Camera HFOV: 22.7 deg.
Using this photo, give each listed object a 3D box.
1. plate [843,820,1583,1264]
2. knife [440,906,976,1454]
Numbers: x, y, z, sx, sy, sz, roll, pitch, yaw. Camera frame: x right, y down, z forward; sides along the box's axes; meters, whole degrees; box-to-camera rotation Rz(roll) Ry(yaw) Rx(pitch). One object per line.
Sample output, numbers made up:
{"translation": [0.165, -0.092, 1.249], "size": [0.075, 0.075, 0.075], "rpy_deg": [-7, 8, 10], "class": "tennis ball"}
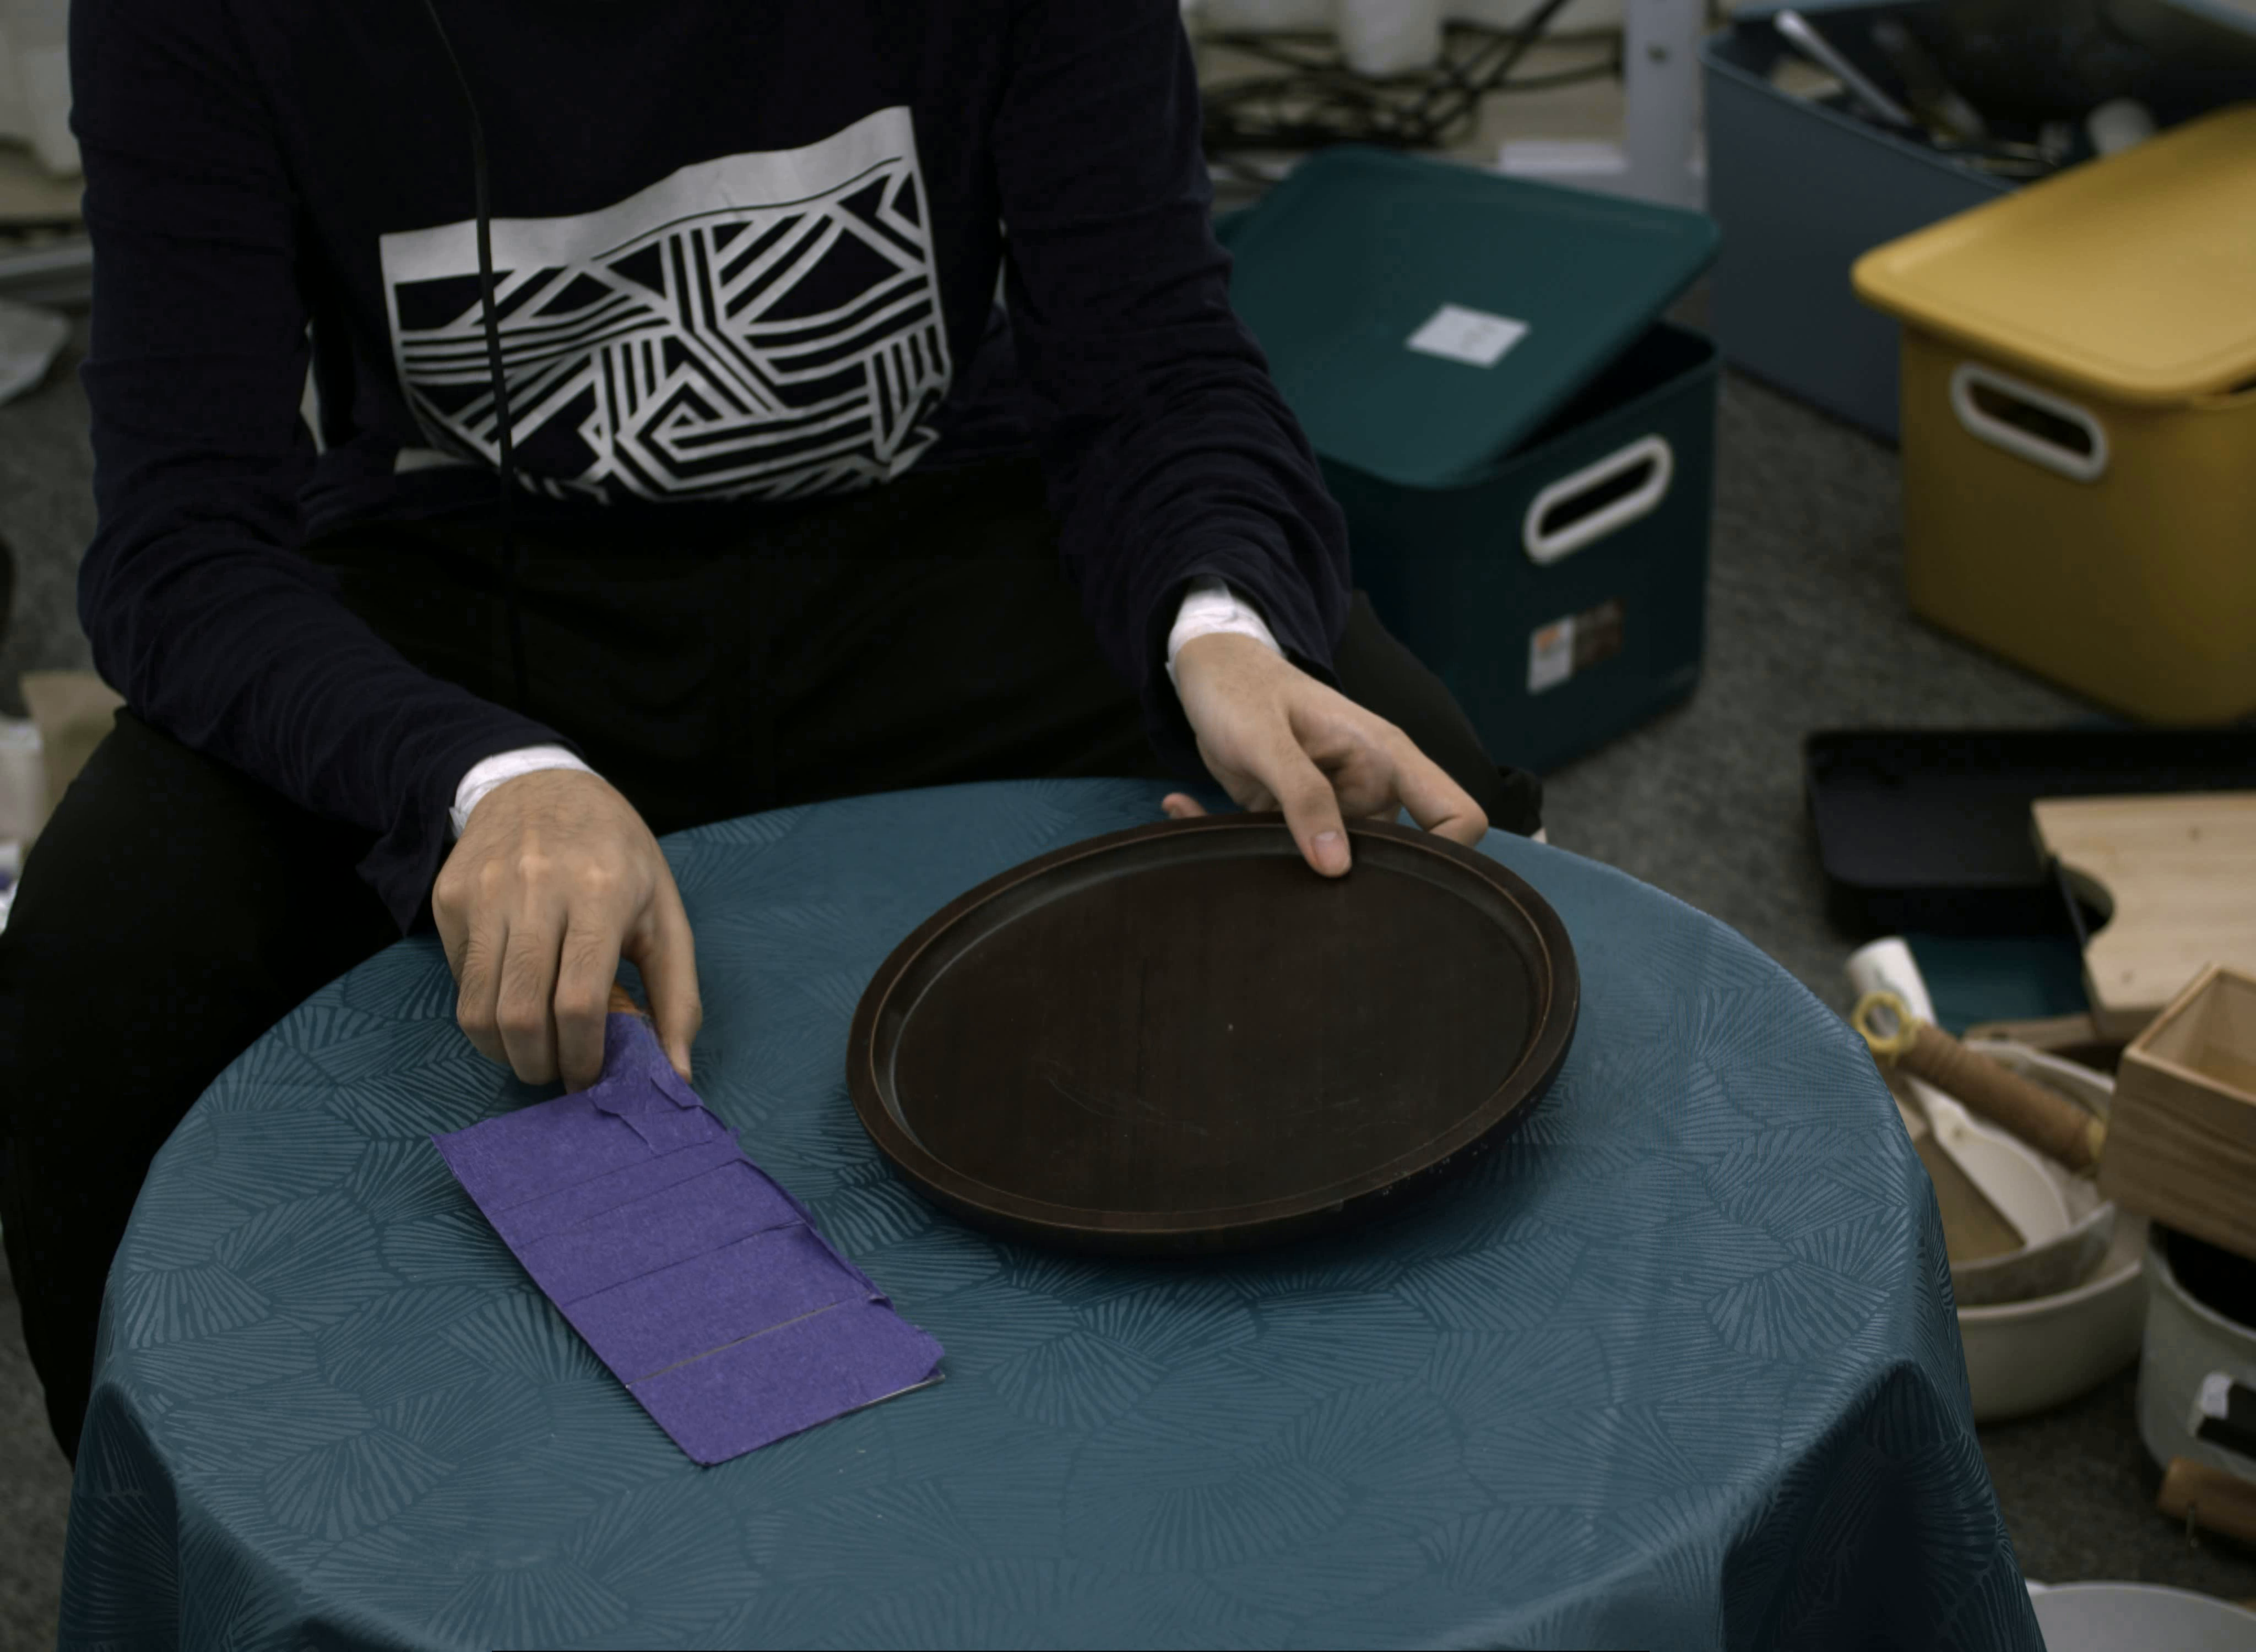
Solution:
{"translation": [0.029, 0.071, 1.907], "size": [0.253, 0.028, 0.259], "rpy_deg": [-5, 32, 4], "class": "plate"}
{"translation": [-0.169, 0.113, 1.858], "size": [0.104, 0.032, 0.317], "rpy_deg": [-16, 32, -26], "class": "knife"}
